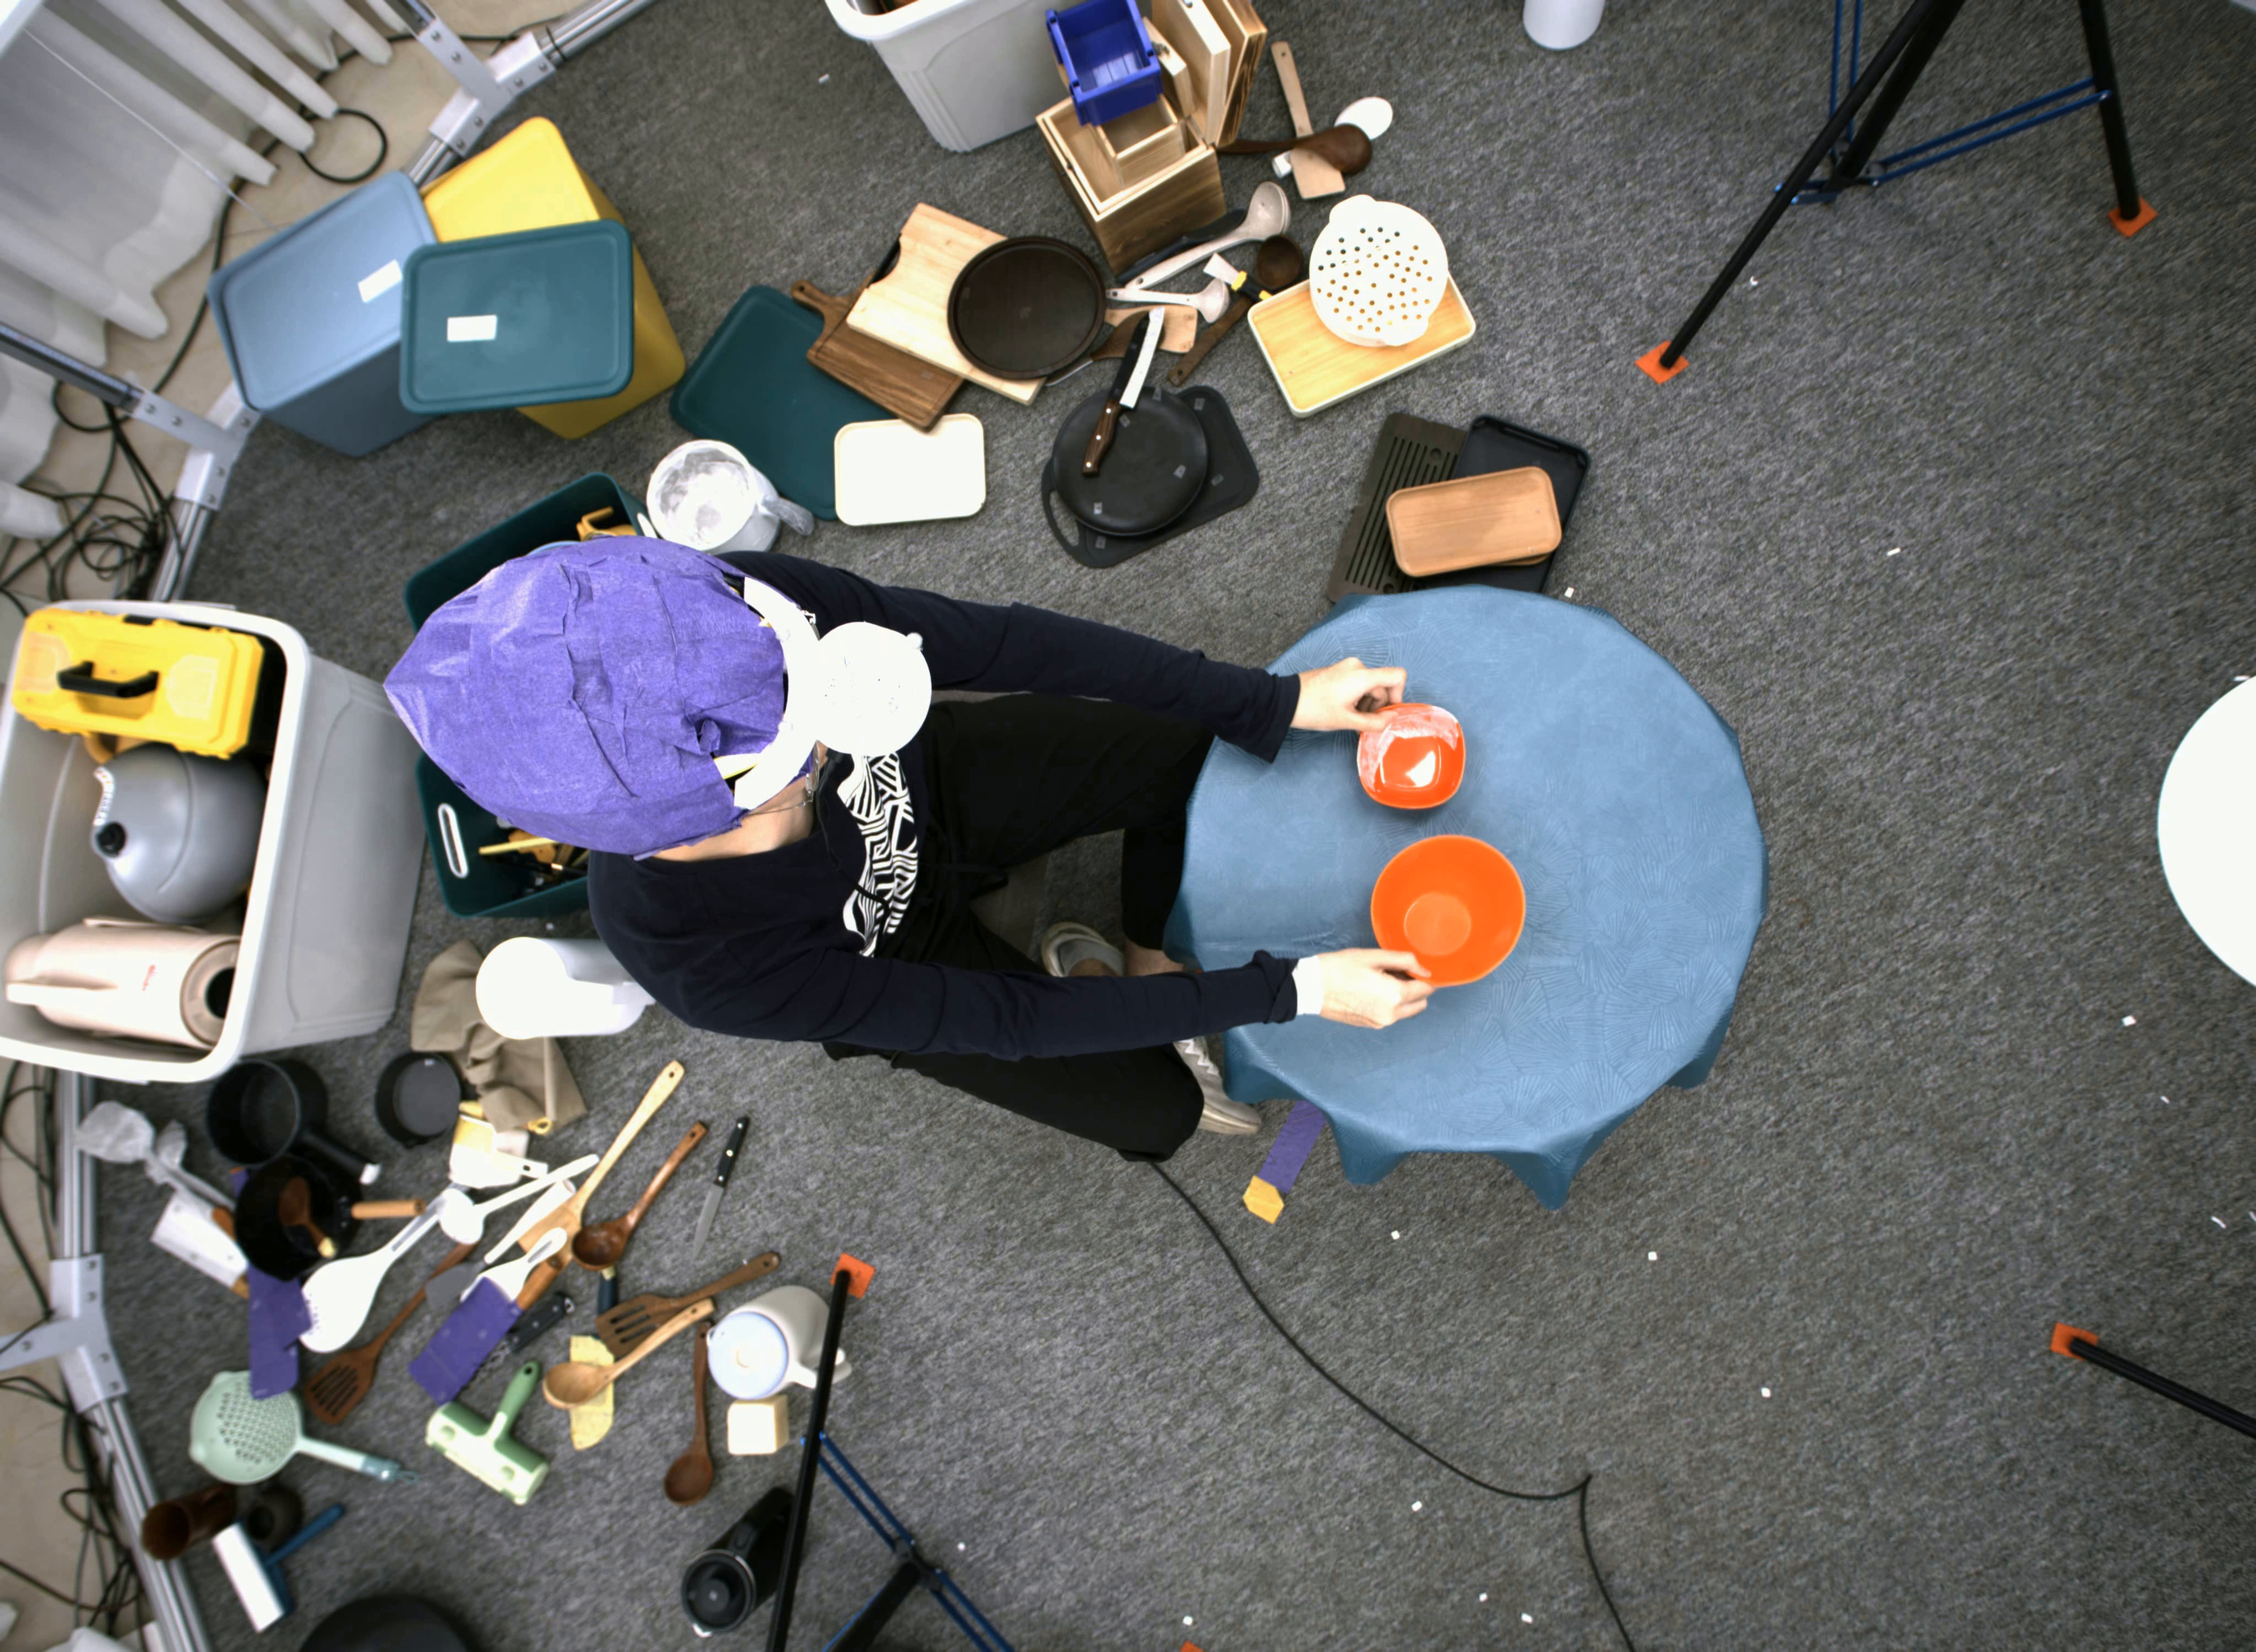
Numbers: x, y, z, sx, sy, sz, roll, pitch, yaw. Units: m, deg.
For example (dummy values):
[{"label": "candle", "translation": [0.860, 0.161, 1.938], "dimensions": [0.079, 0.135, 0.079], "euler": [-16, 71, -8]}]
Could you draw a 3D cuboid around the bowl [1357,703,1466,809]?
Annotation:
[{"label": "bowl", "translation": [0.295, -0.072, 1.436], "dimensions": [0.119, 0.051, 0.118], "euler": [-1, 87, 9]}]

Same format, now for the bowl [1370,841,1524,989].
[{"label": "bowl", "translation": [0.318, 0.094, 1.377], "dimensions": [0.149, 0.105, 0.146], "euler": [-3, 77, 14]}]
